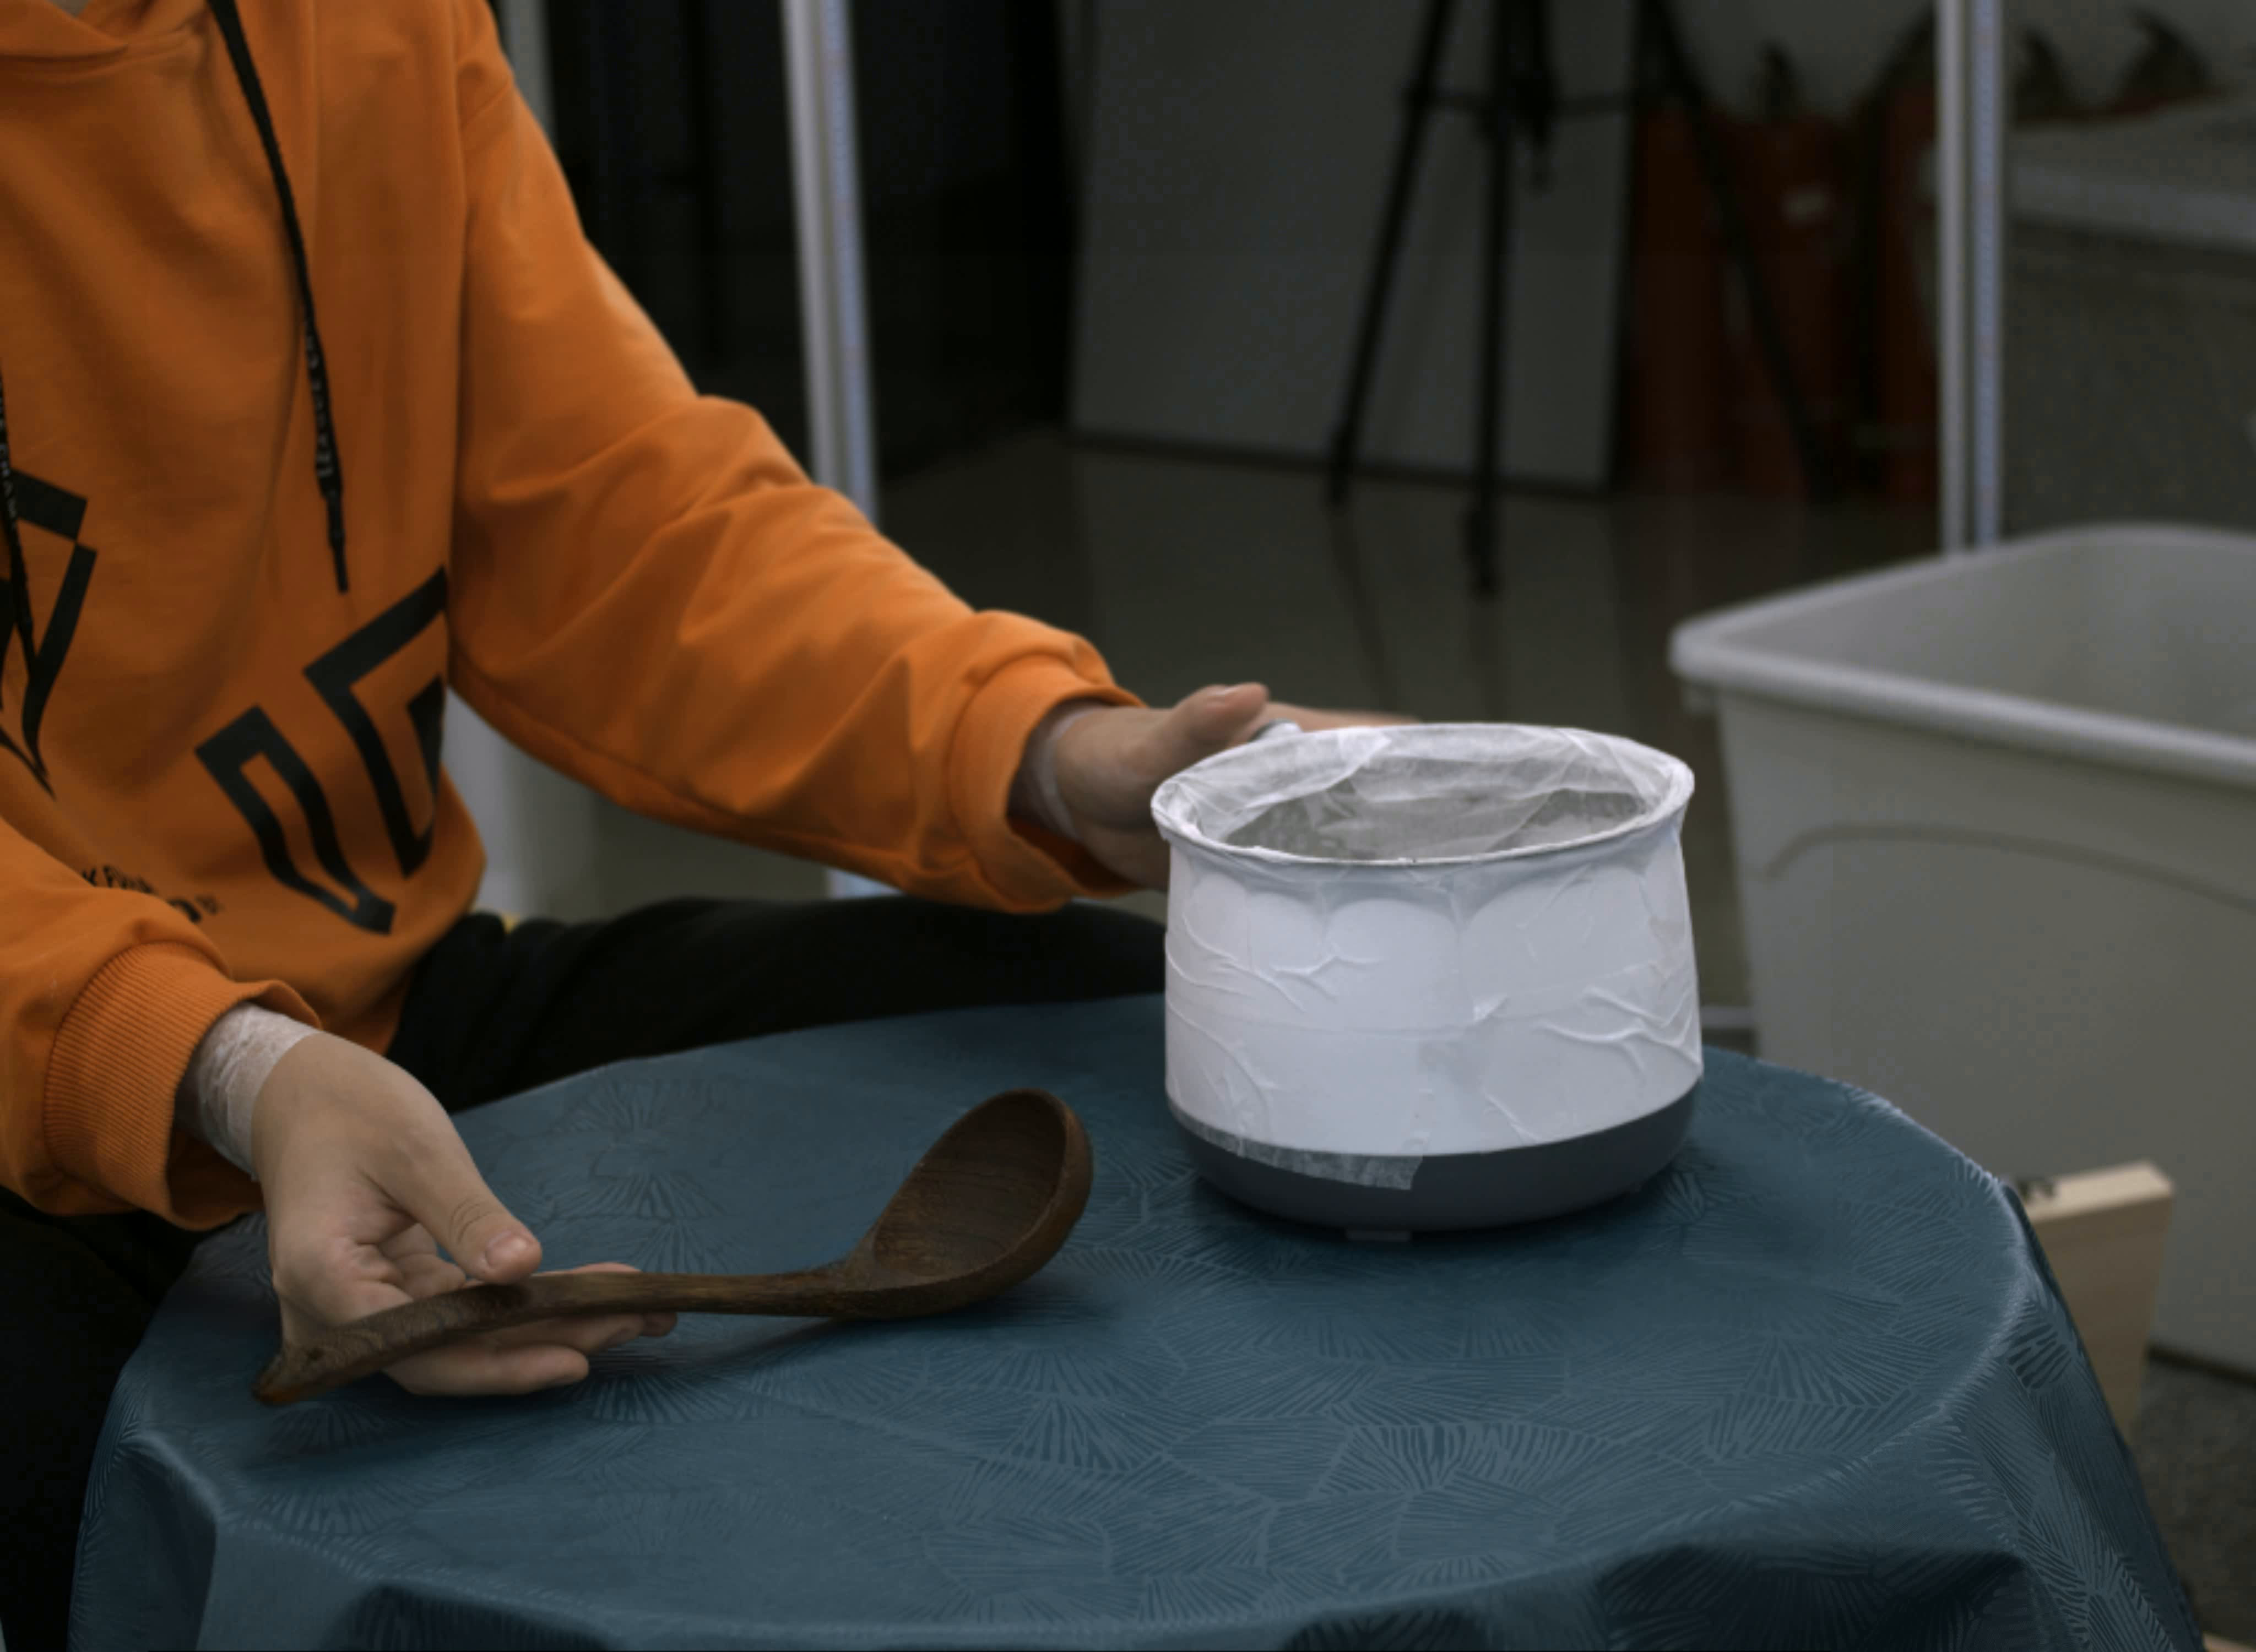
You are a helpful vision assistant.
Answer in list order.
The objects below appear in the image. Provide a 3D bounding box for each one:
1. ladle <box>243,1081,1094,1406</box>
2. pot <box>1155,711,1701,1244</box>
[{"bbox_3d":[-0.135,0.123,1.626,0.268,0.072,0.077,-4,12,-28],"label":"ladle"},{"bbox_3d":[0.085,0.043,1.773,0.175,0.138,0.236,-10,15,-25],"label":"pot"}]
